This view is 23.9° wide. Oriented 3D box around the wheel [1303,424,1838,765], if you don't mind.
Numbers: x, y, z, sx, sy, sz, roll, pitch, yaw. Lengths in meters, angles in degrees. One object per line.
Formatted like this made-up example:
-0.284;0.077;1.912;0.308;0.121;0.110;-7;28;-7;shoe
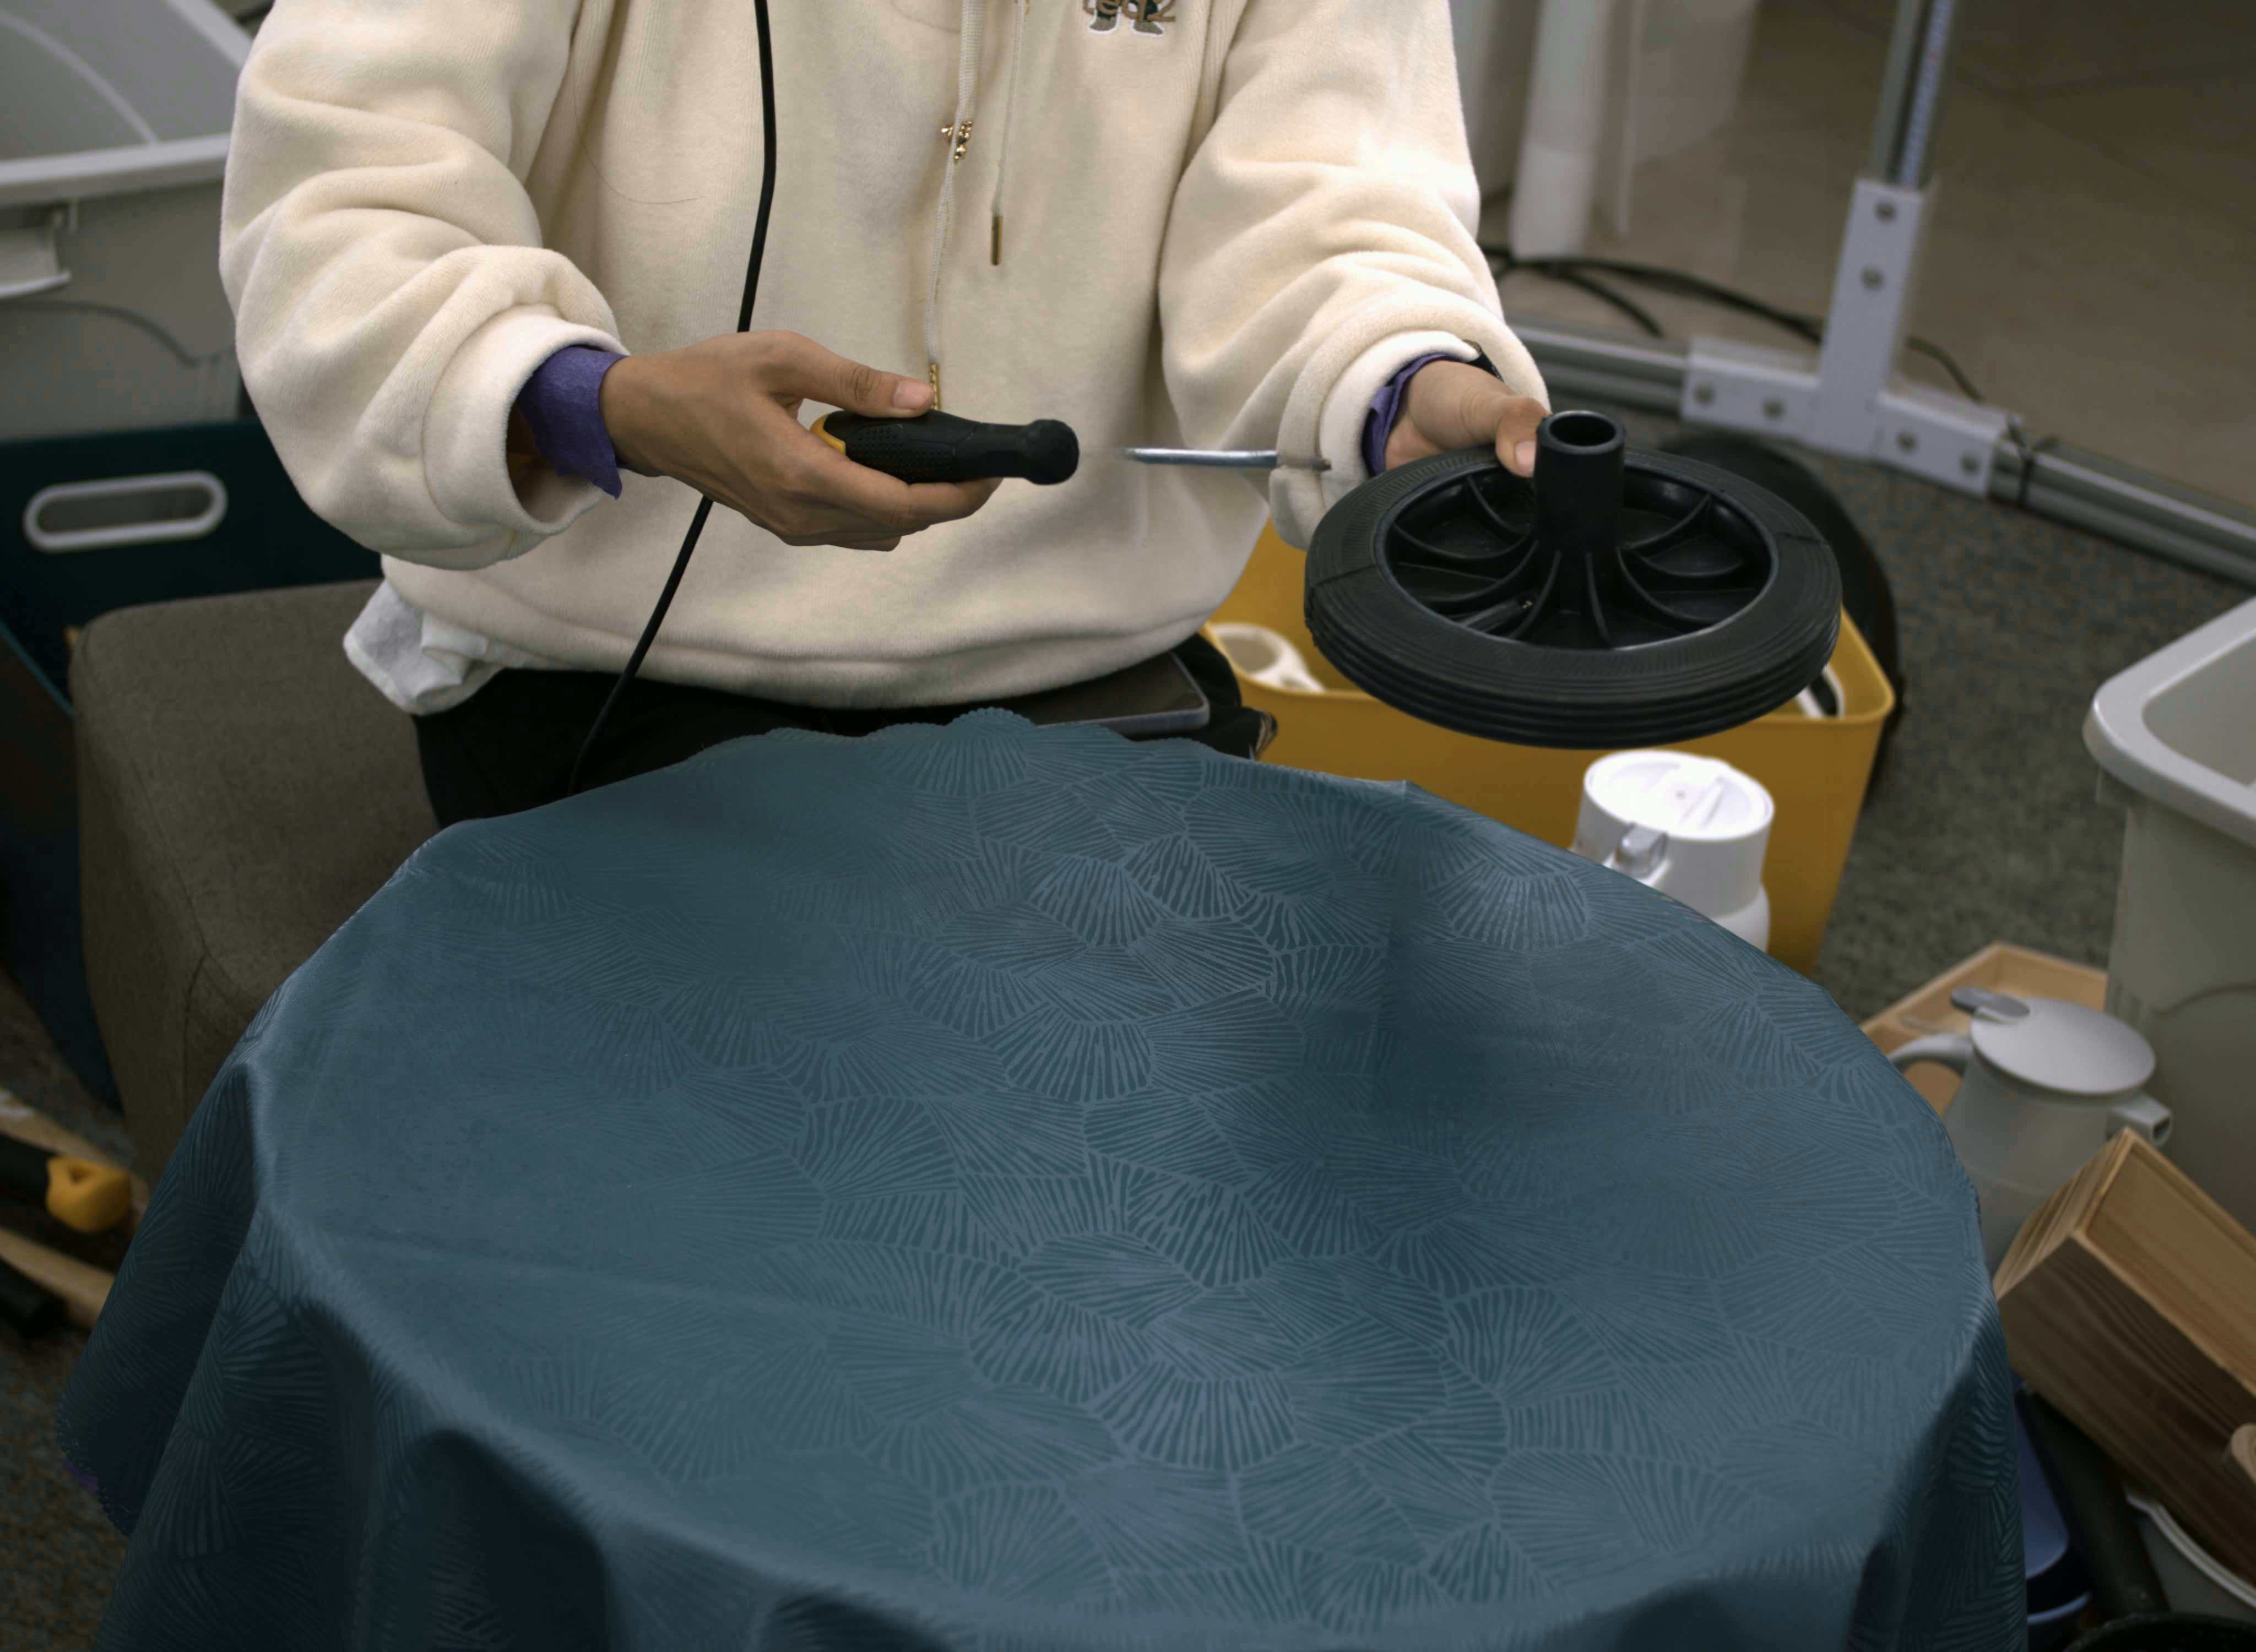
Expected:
0.154;-0.097;1.850;0.188;0.079;0.190;15;36;22;wheel

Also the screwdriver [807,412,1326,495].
-0.022;-0.129;1.890;0.198;0.031;0.031;5;24;21;screwdriver
